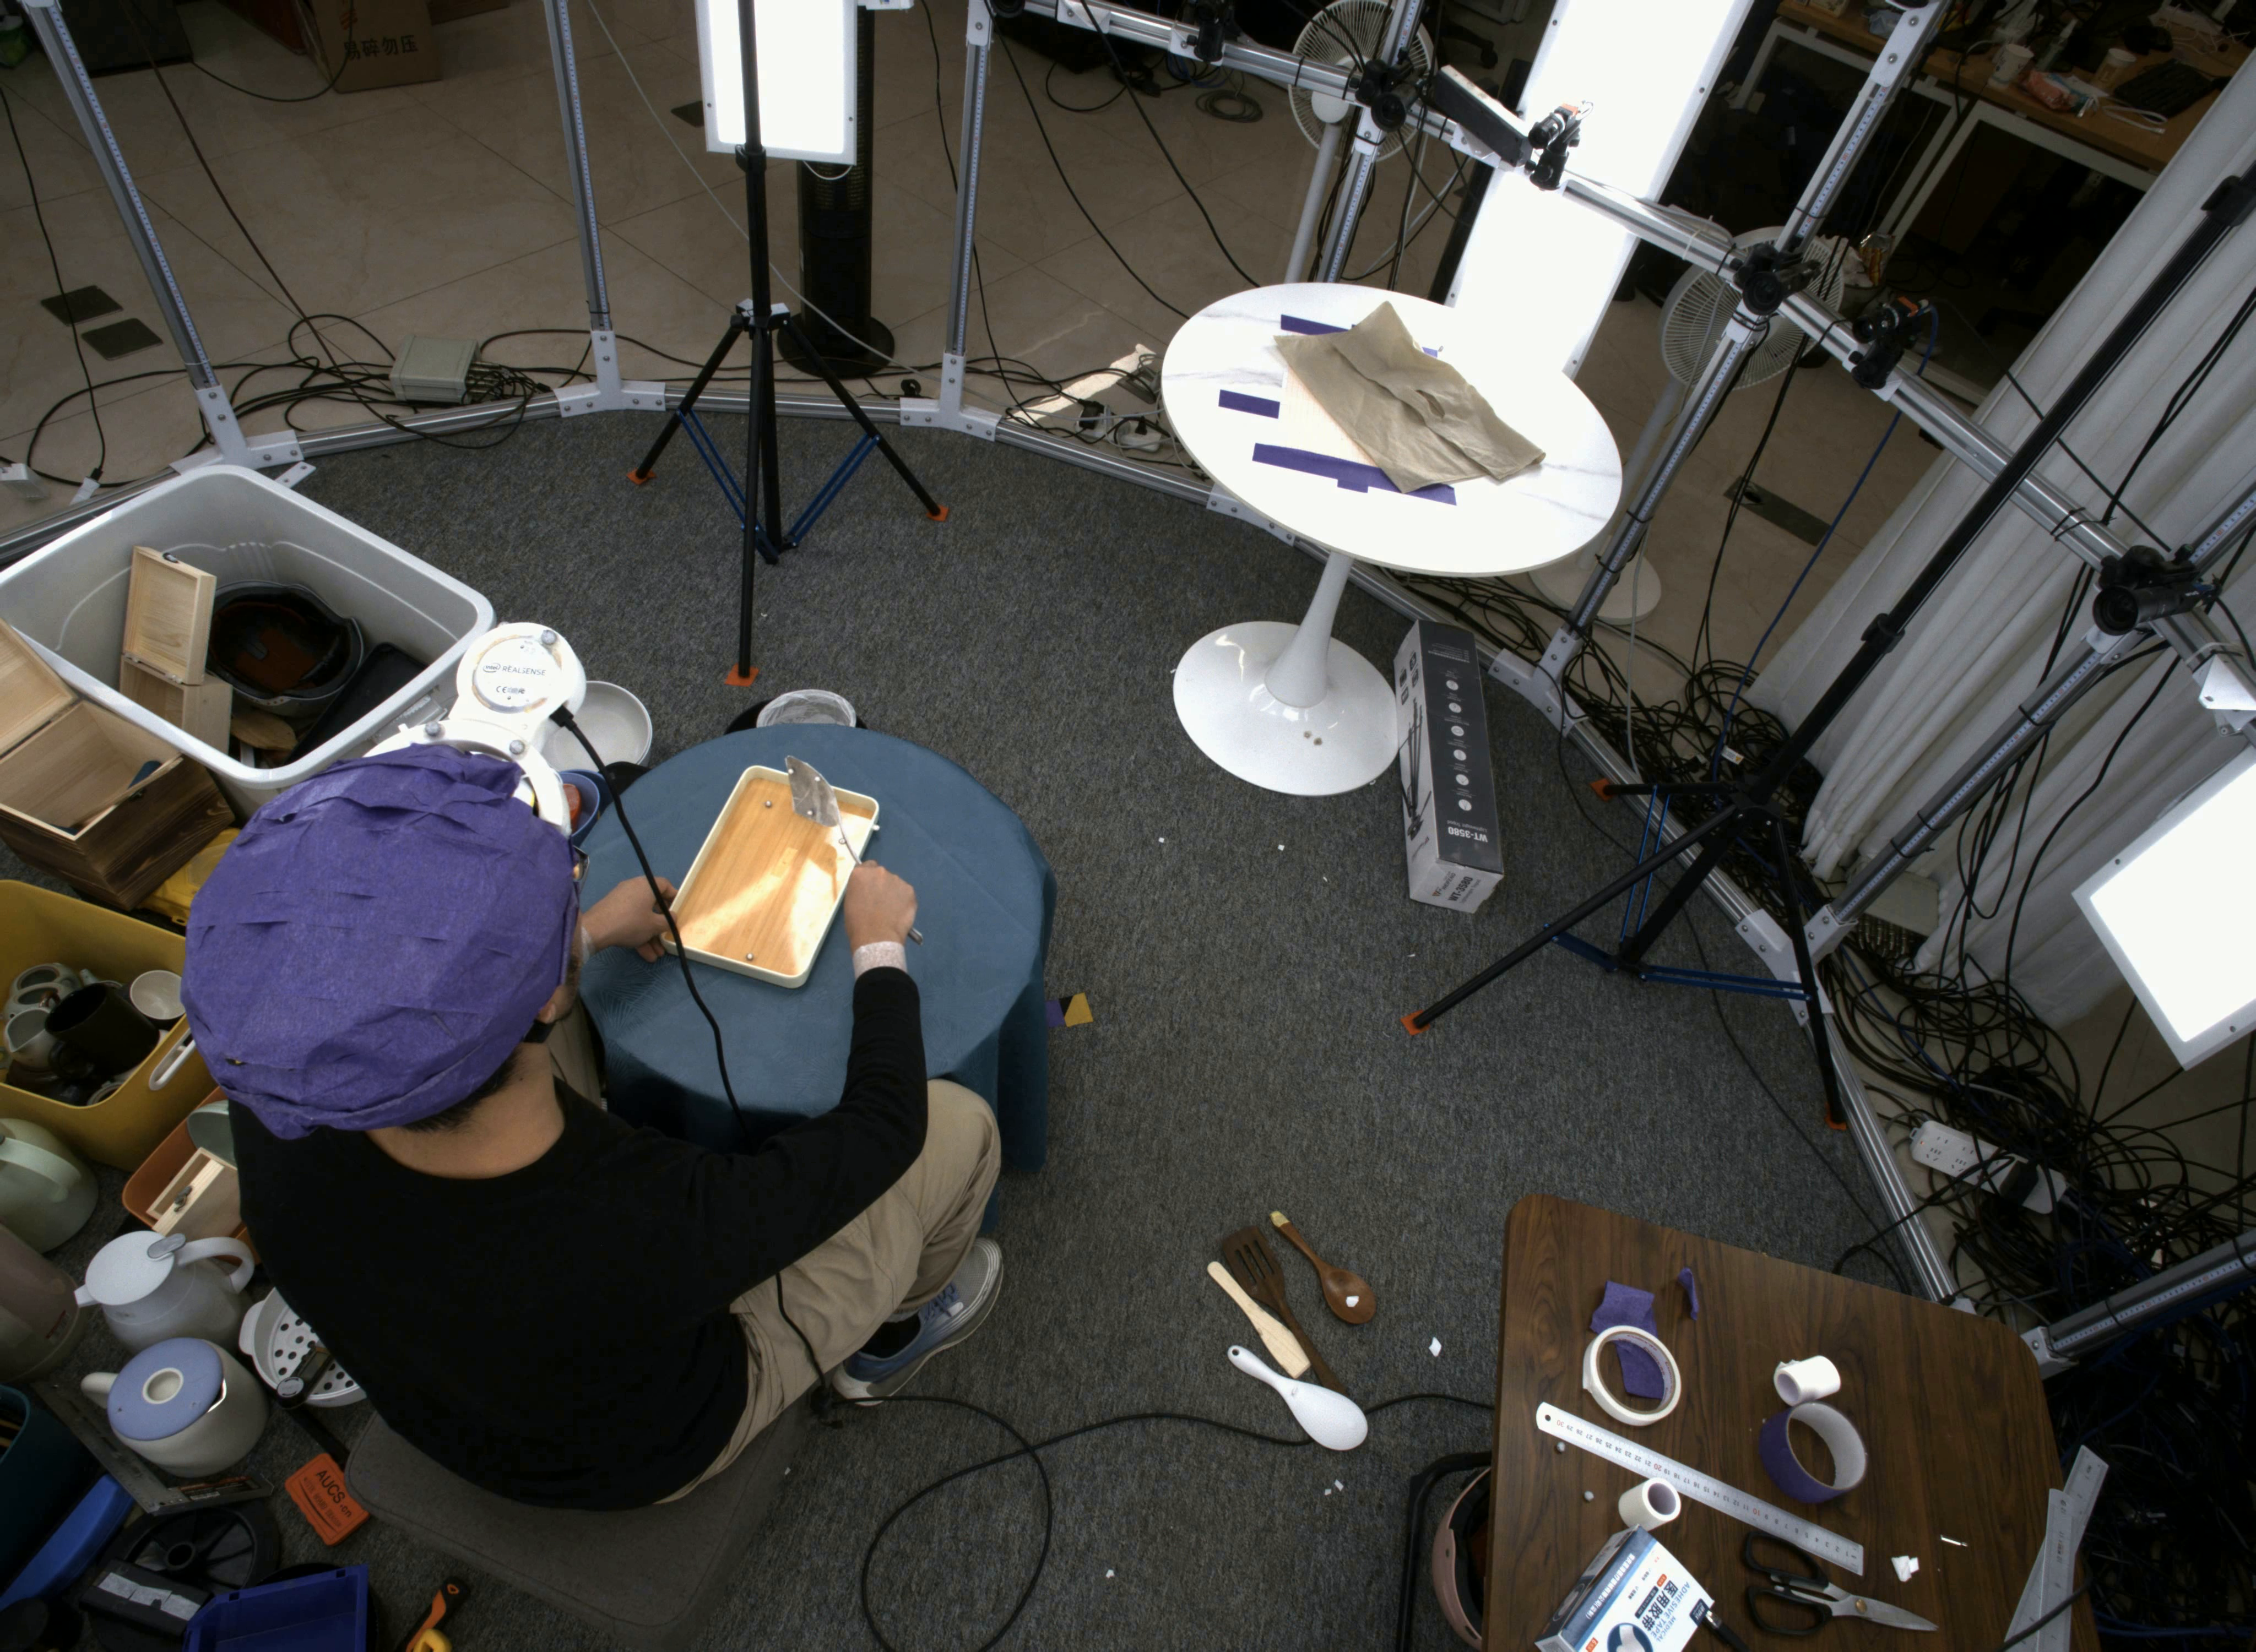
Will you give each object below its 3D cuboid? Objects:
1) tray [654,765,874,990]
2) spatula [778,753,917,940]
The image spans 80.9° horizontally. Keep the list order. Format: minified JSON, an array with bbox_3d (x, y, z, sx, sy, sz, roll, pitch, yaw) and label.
[{"bbox_3d":[-0.458,0.058,1.649,0.190,0.028,0.296,17,52,-2],"label":"tray"},{"bbox_3d":[-0.350,0.029,1.595,0.045,0.102,0.352,-18,44,-25],"label":"spatula"}]
